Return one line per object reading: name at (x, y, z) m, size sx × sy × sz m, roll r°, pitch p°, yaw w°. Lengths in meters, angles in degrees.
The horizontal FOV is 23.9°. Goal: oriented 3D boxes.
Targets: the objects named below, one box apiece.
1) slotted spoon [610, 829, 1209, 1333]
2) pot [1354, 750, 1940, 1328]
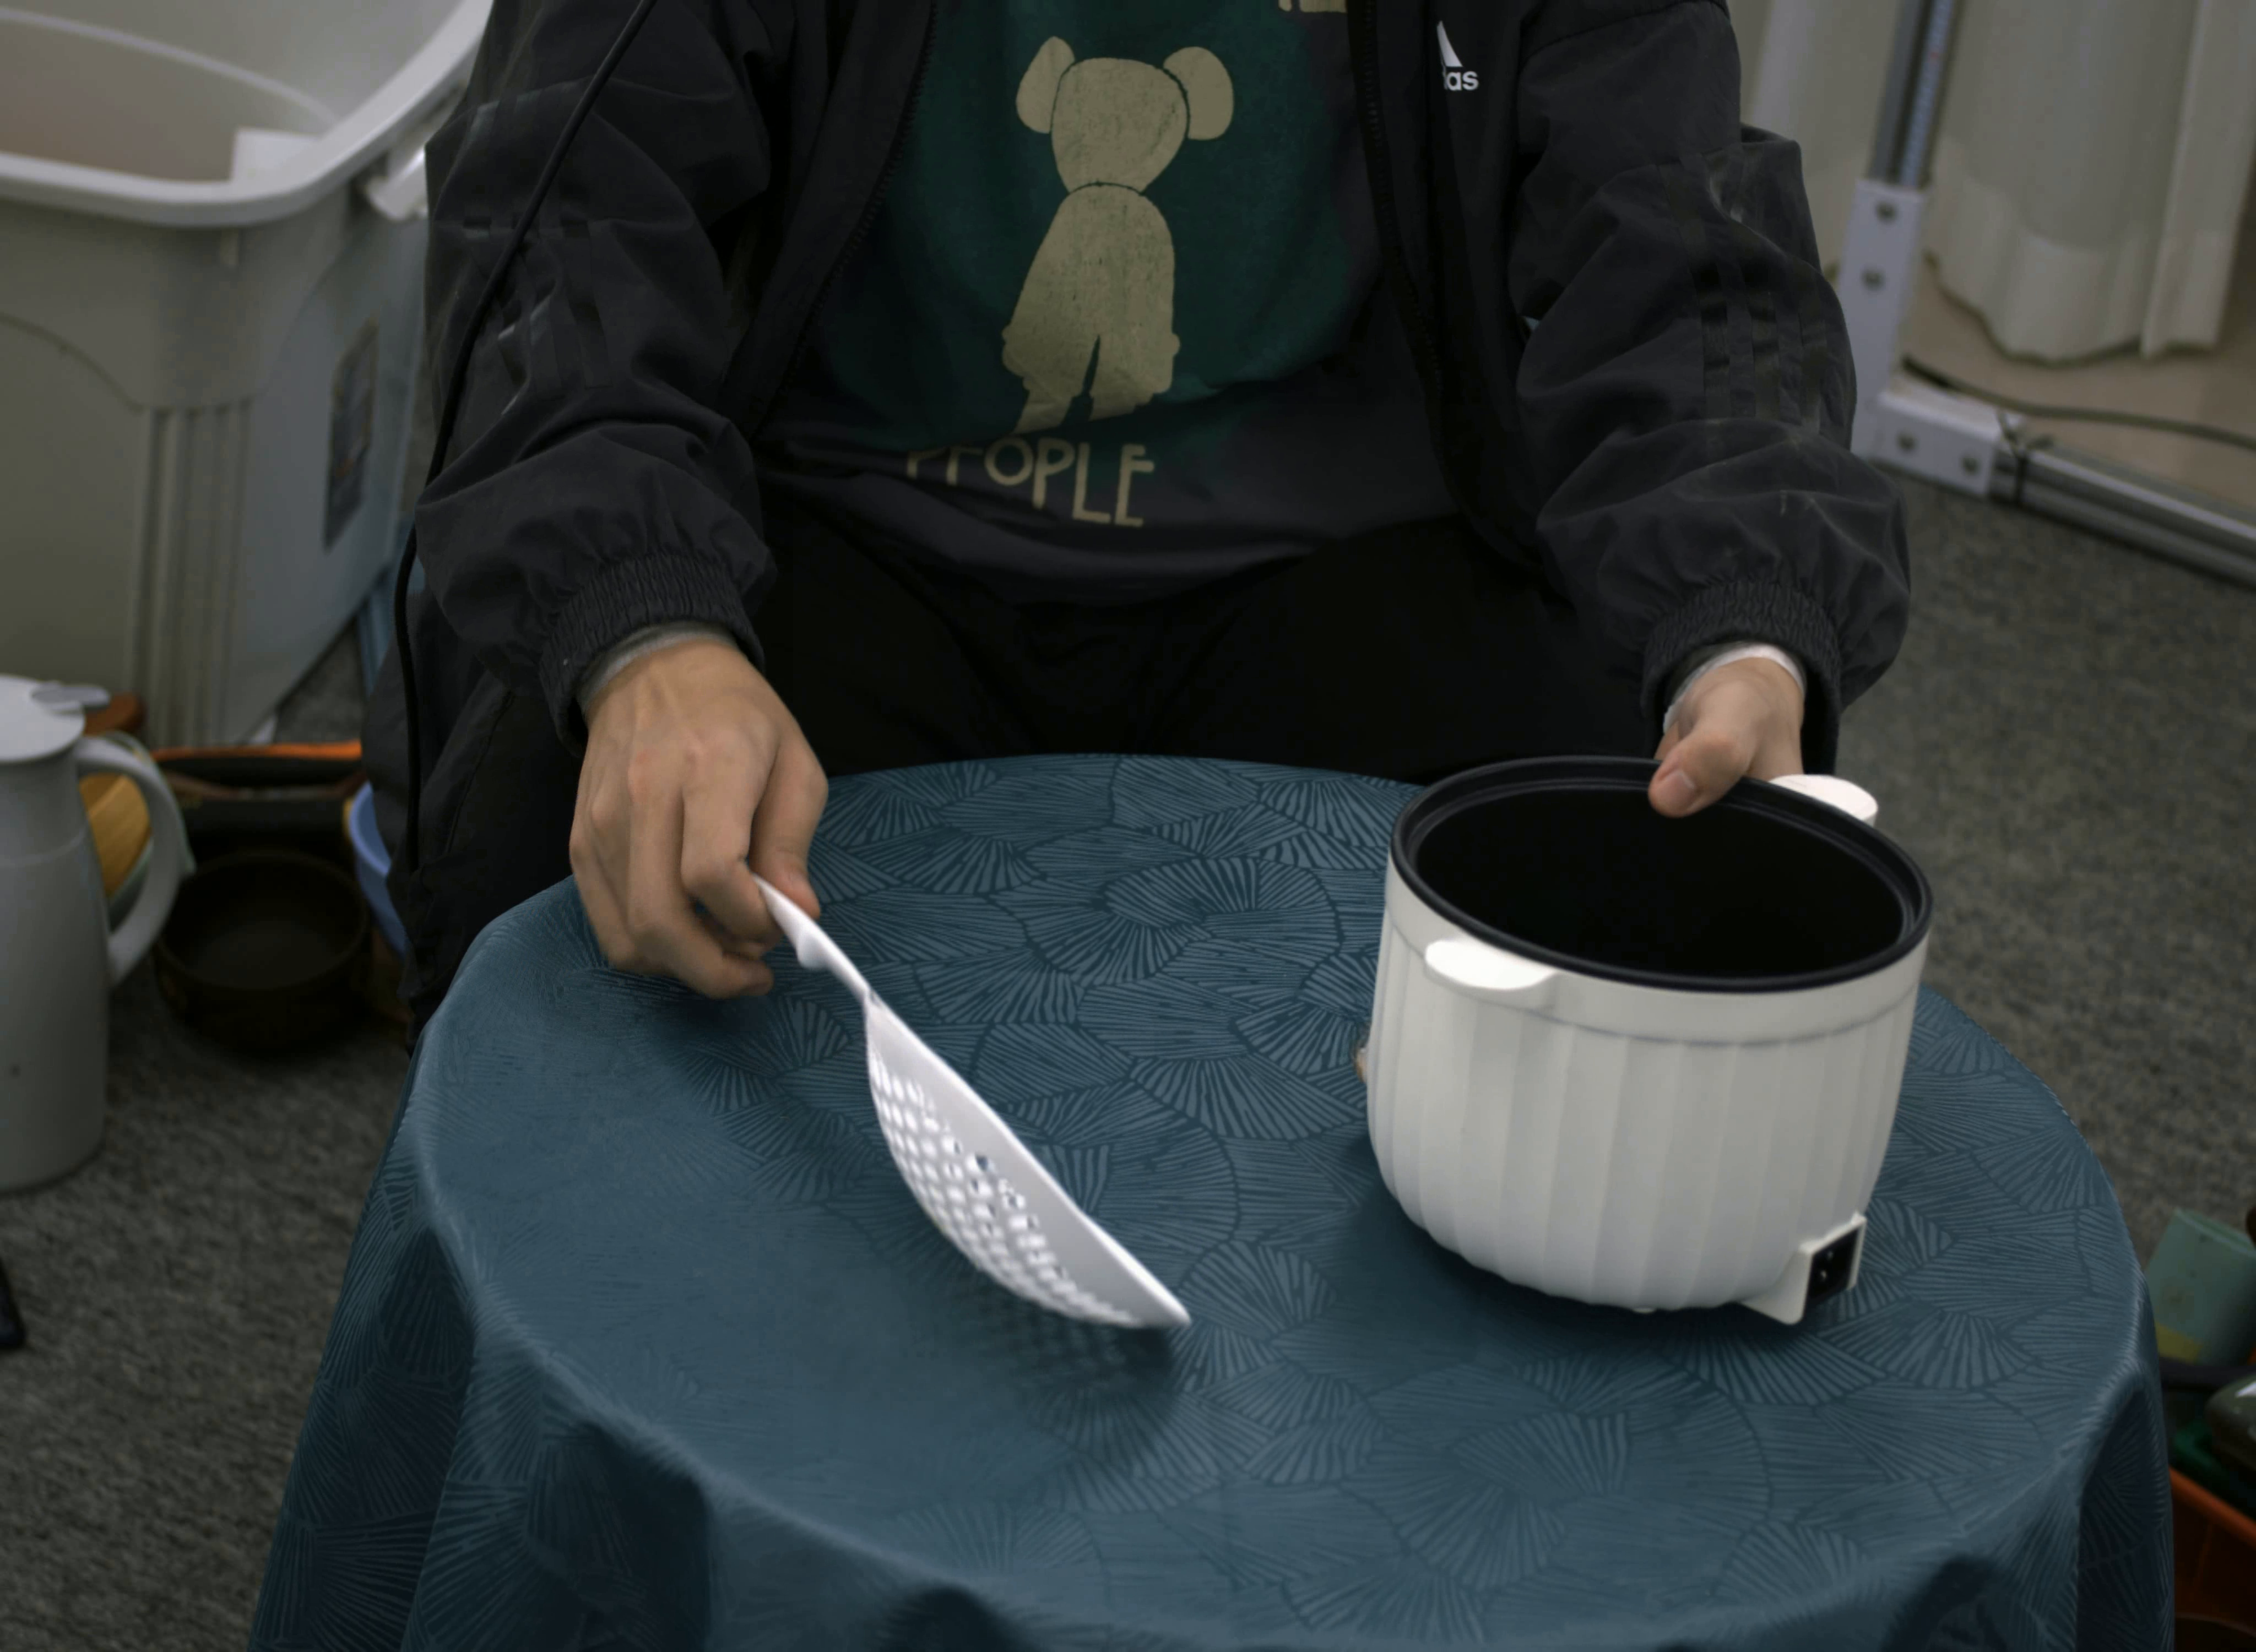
slotted spoon at (-0.087, 0.074, 1.788) m, size 0.050 × 0.135 × 0.351 m, roll -44°, pitch 39°, yaw 1°
pot at (0.165, 0.072, 1.785) m, size 0.192 × 0.142 × 0.239 m, roll 26°, pitch 30°, yaw 31°
